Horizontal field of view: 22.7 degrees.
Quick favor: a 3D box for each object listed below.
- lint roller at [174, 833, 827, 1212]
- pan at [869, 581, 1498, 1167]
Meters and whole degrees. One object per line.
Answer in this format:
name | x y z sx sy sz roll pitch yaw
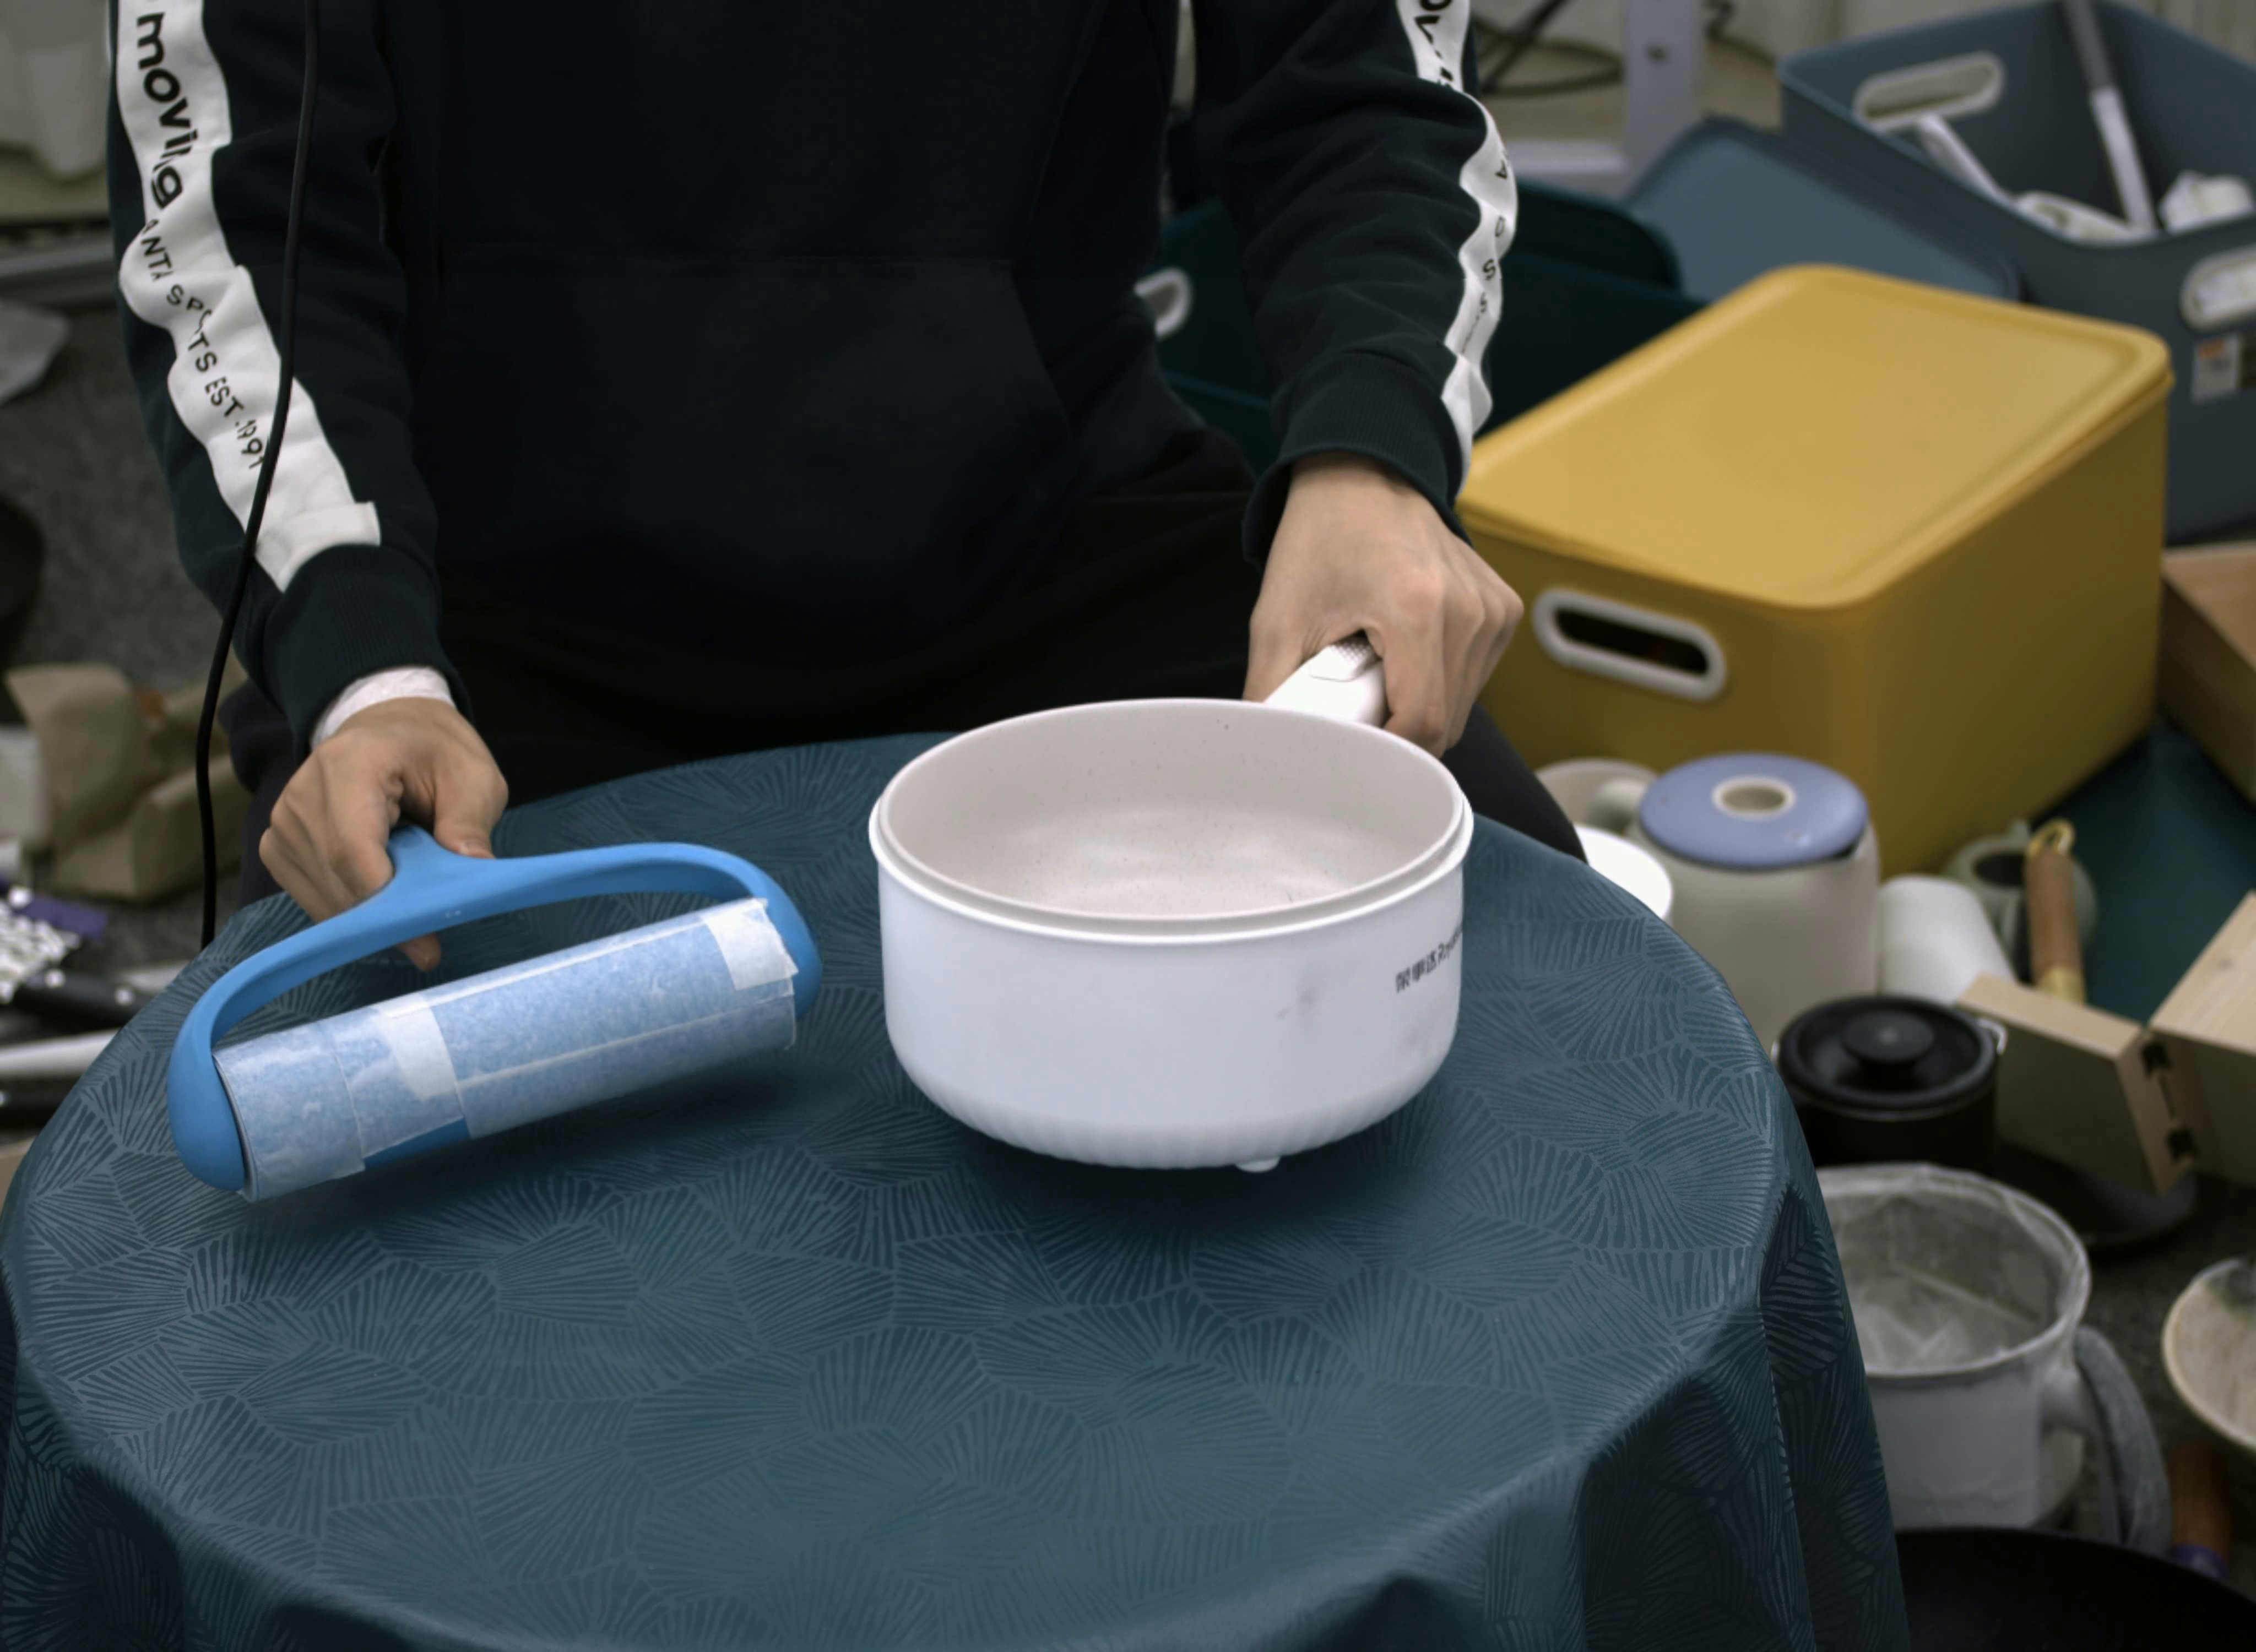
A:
lint roller | -0.235 0.042 1.925 0.230 0.067 0.182 -20 41 -21
pan | 0.046 0.013 1.944 0.200 0.101 0.360 8 22 22
